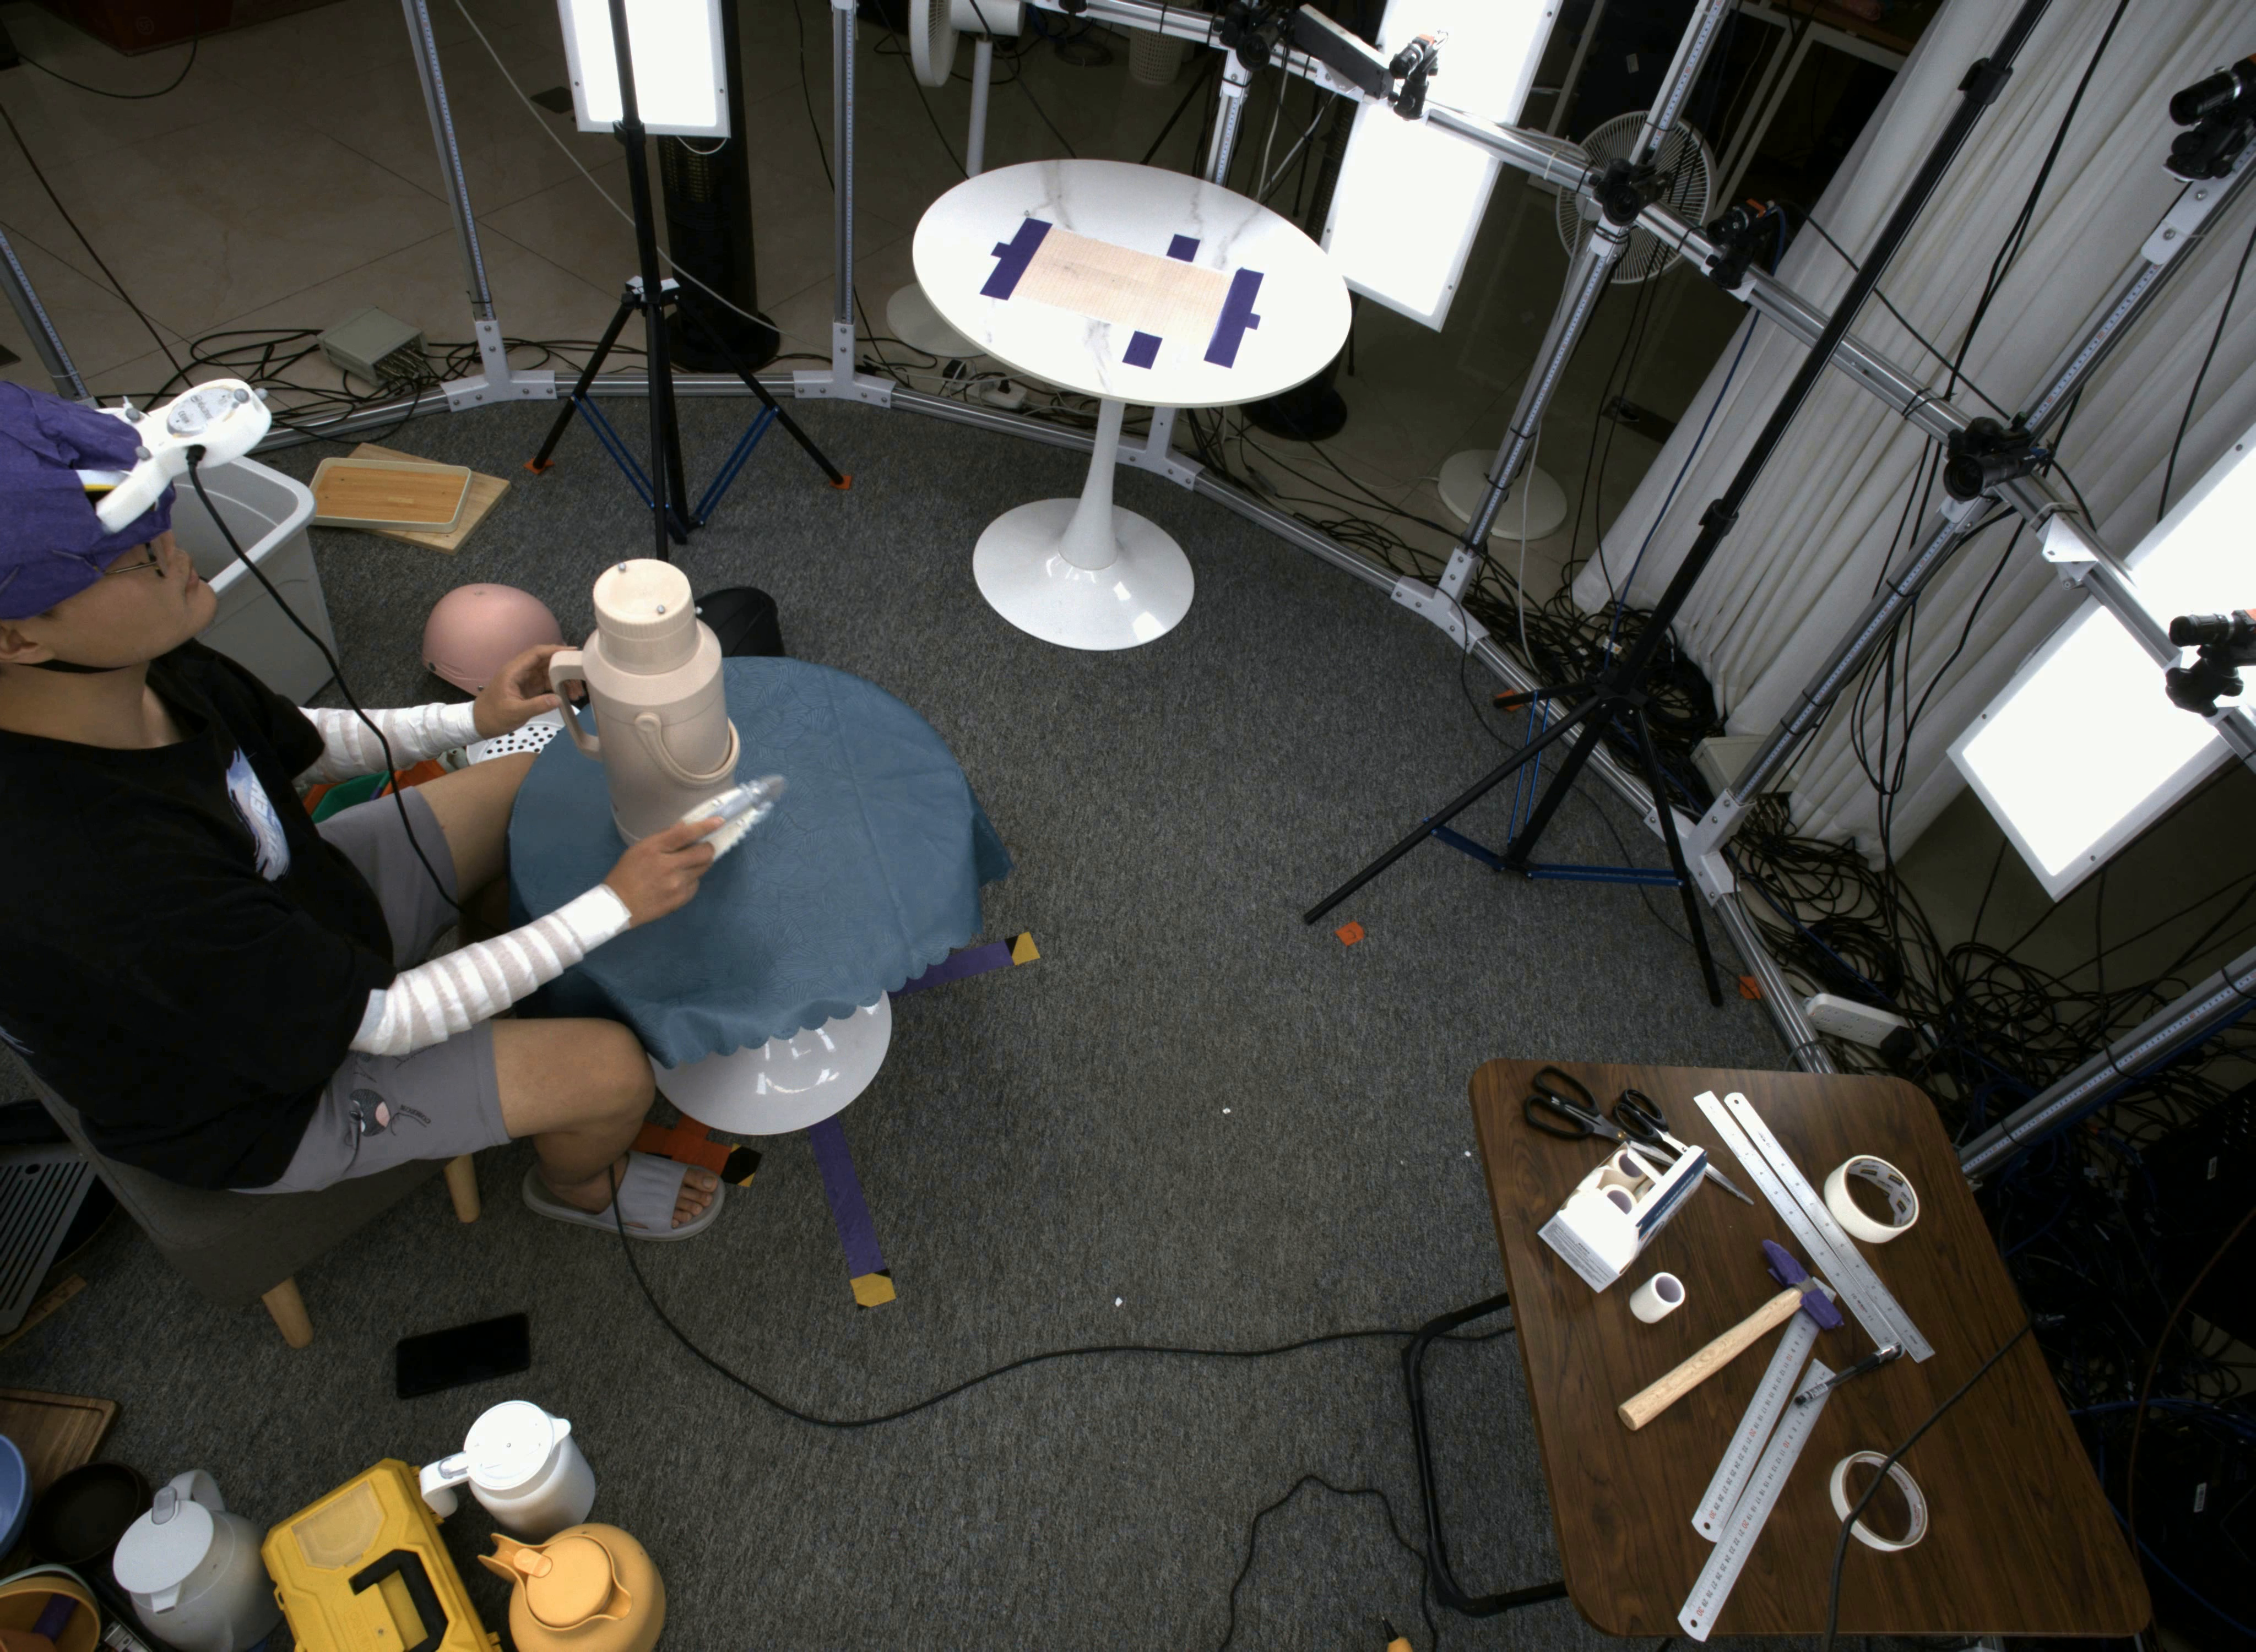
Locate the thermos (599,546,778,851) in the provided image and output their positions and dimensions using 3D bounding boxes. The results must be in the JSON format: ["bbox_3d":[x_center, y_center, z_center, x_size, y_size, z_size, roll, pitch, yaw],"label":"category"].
[{"bbox_3d":[-0.535,-0.151,1.563,0.207,0.415,0.172,0,54,-11],"label":"thermos"}]

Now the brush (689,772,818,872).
[{"bbox_3d":[-0.441,-0.007,1.509,0.062,0.174,0.093,56,14,-7],"label":"brush"}]
